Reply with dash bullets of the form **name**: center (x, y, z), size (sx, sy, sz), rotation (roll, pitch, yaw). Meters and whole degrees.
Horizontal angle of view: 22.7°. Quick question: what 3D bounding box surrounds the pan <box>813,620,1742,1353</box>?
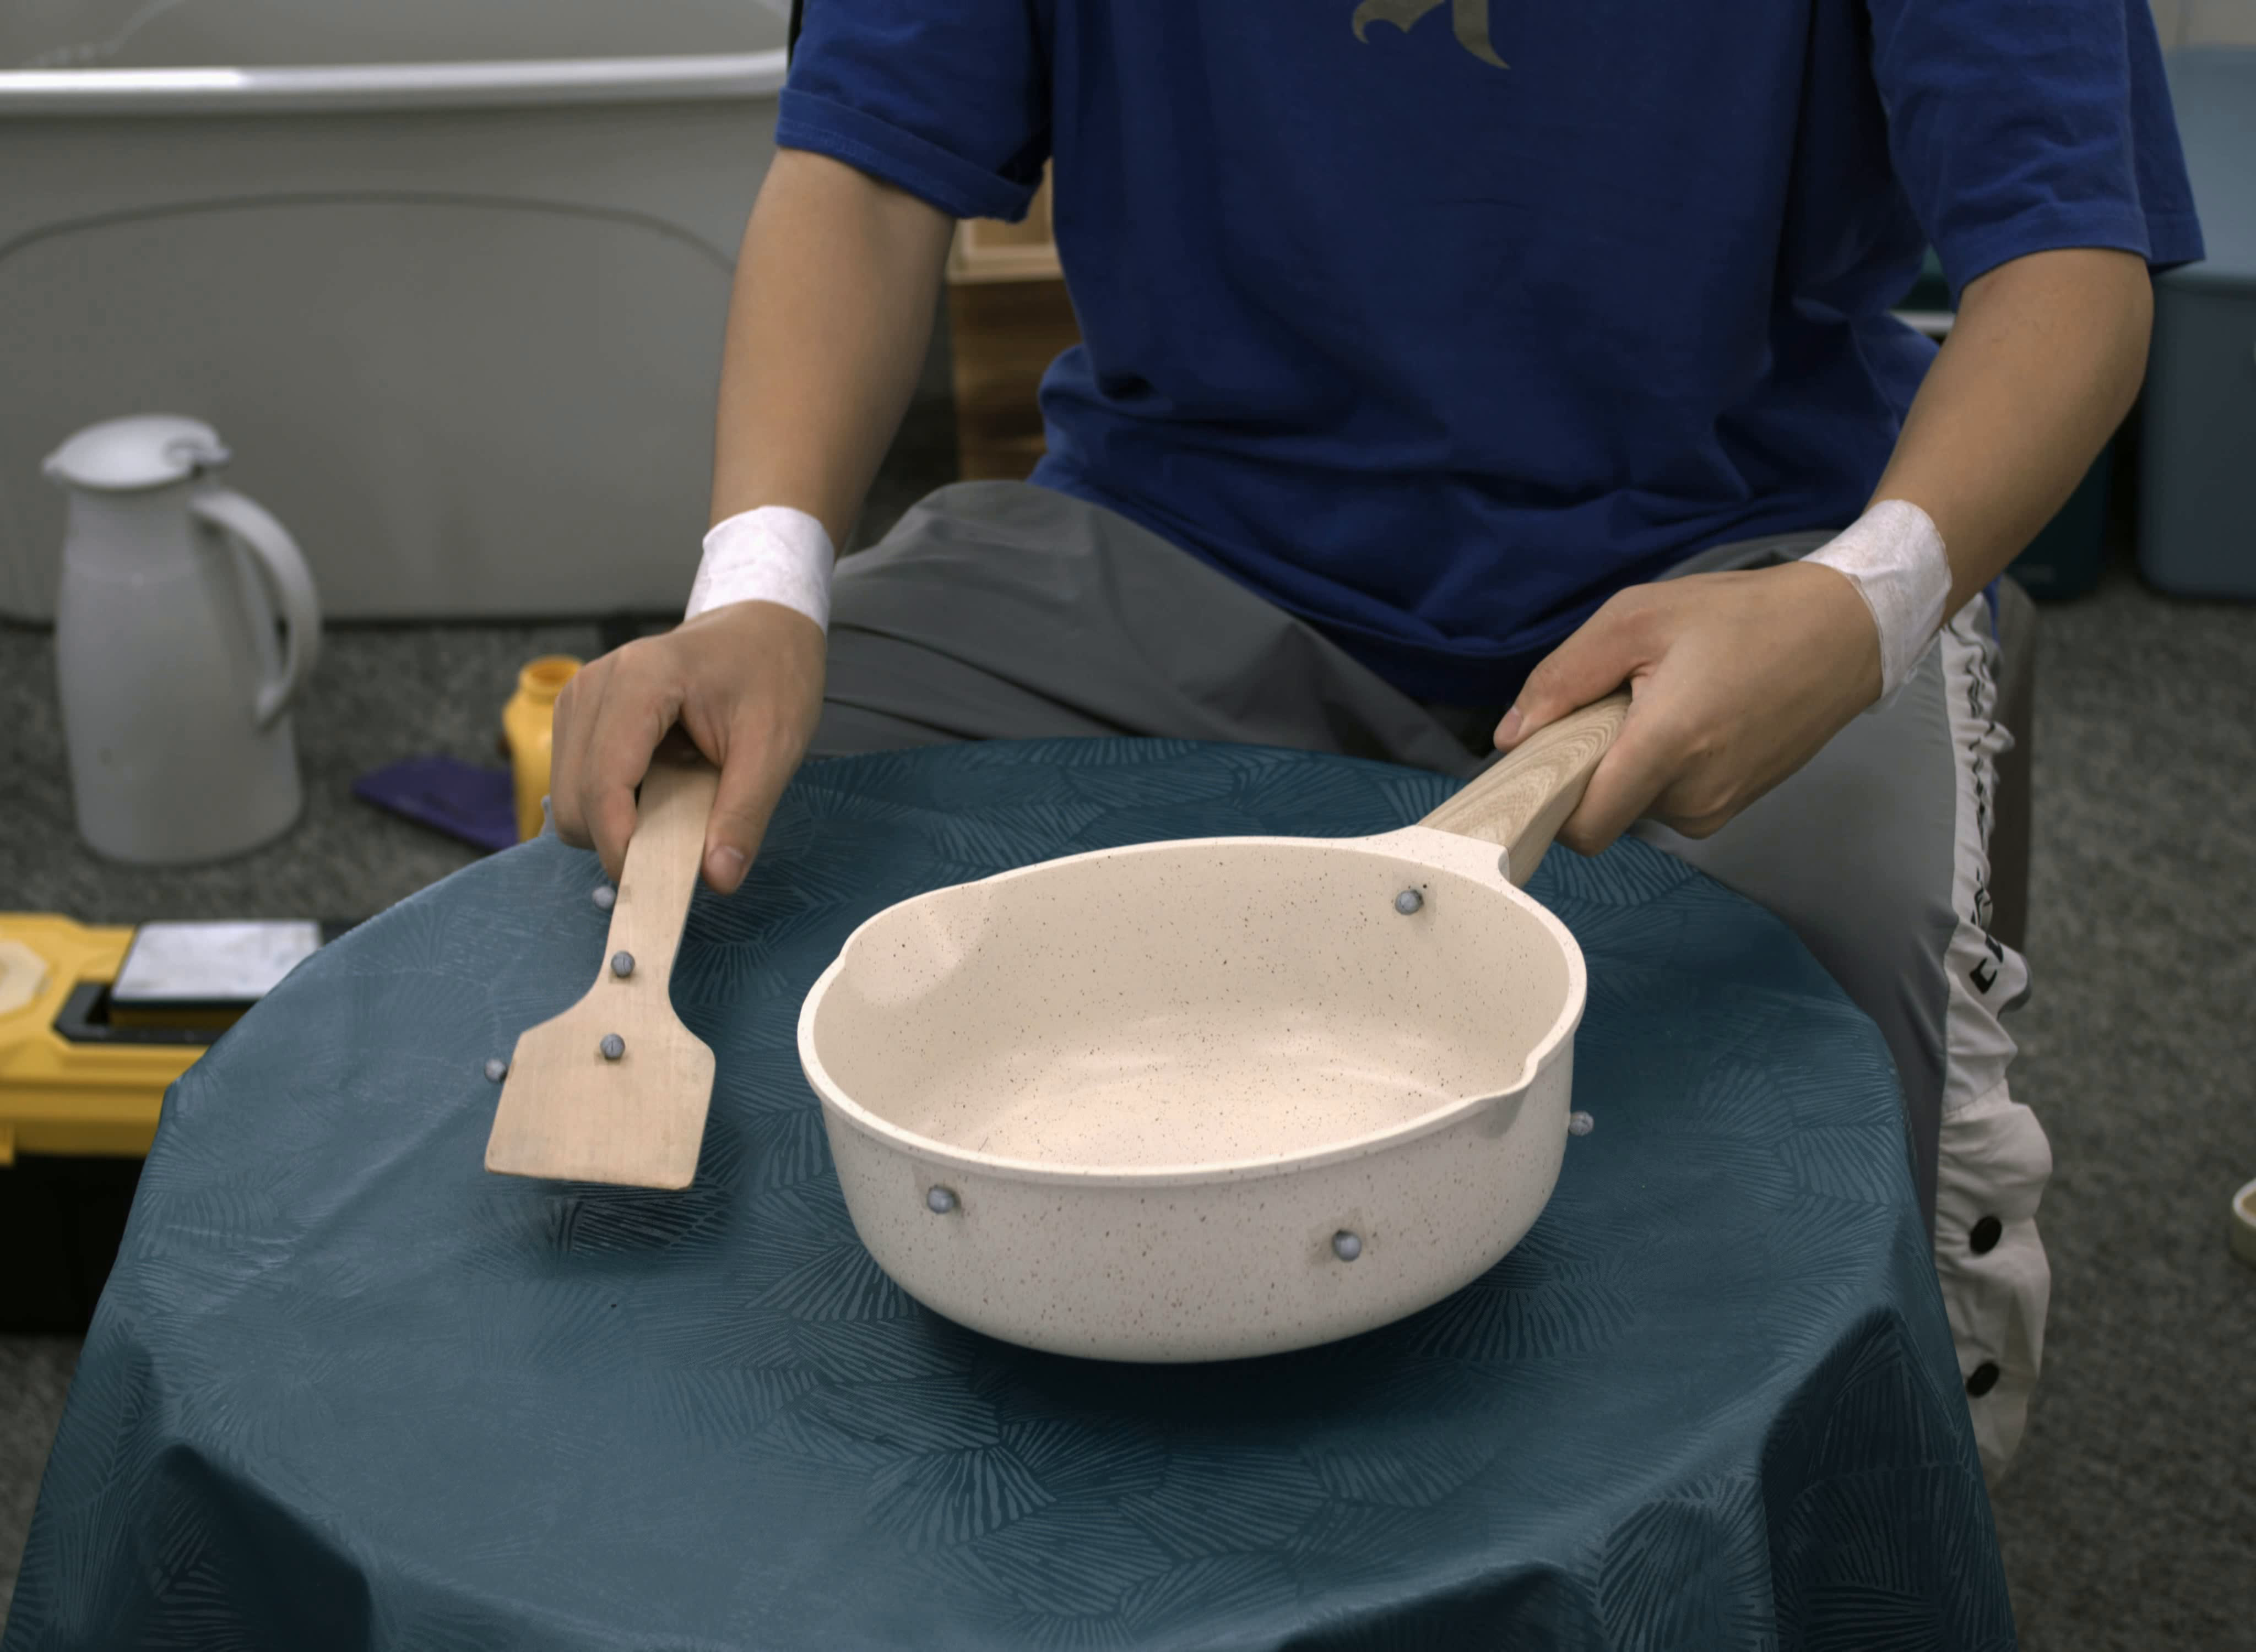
- **pan**: center (0.084, 0.050, 1.855), size (0.262, 0.101, 0.441), rotation (11, 27, 37)

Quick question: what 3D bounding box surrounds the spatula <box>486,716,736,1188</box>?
- **spatula**: center (-0.168, 0.039, 1.959), size (0.072, 0.010, 0.298), rotation (5, 32, 1)
